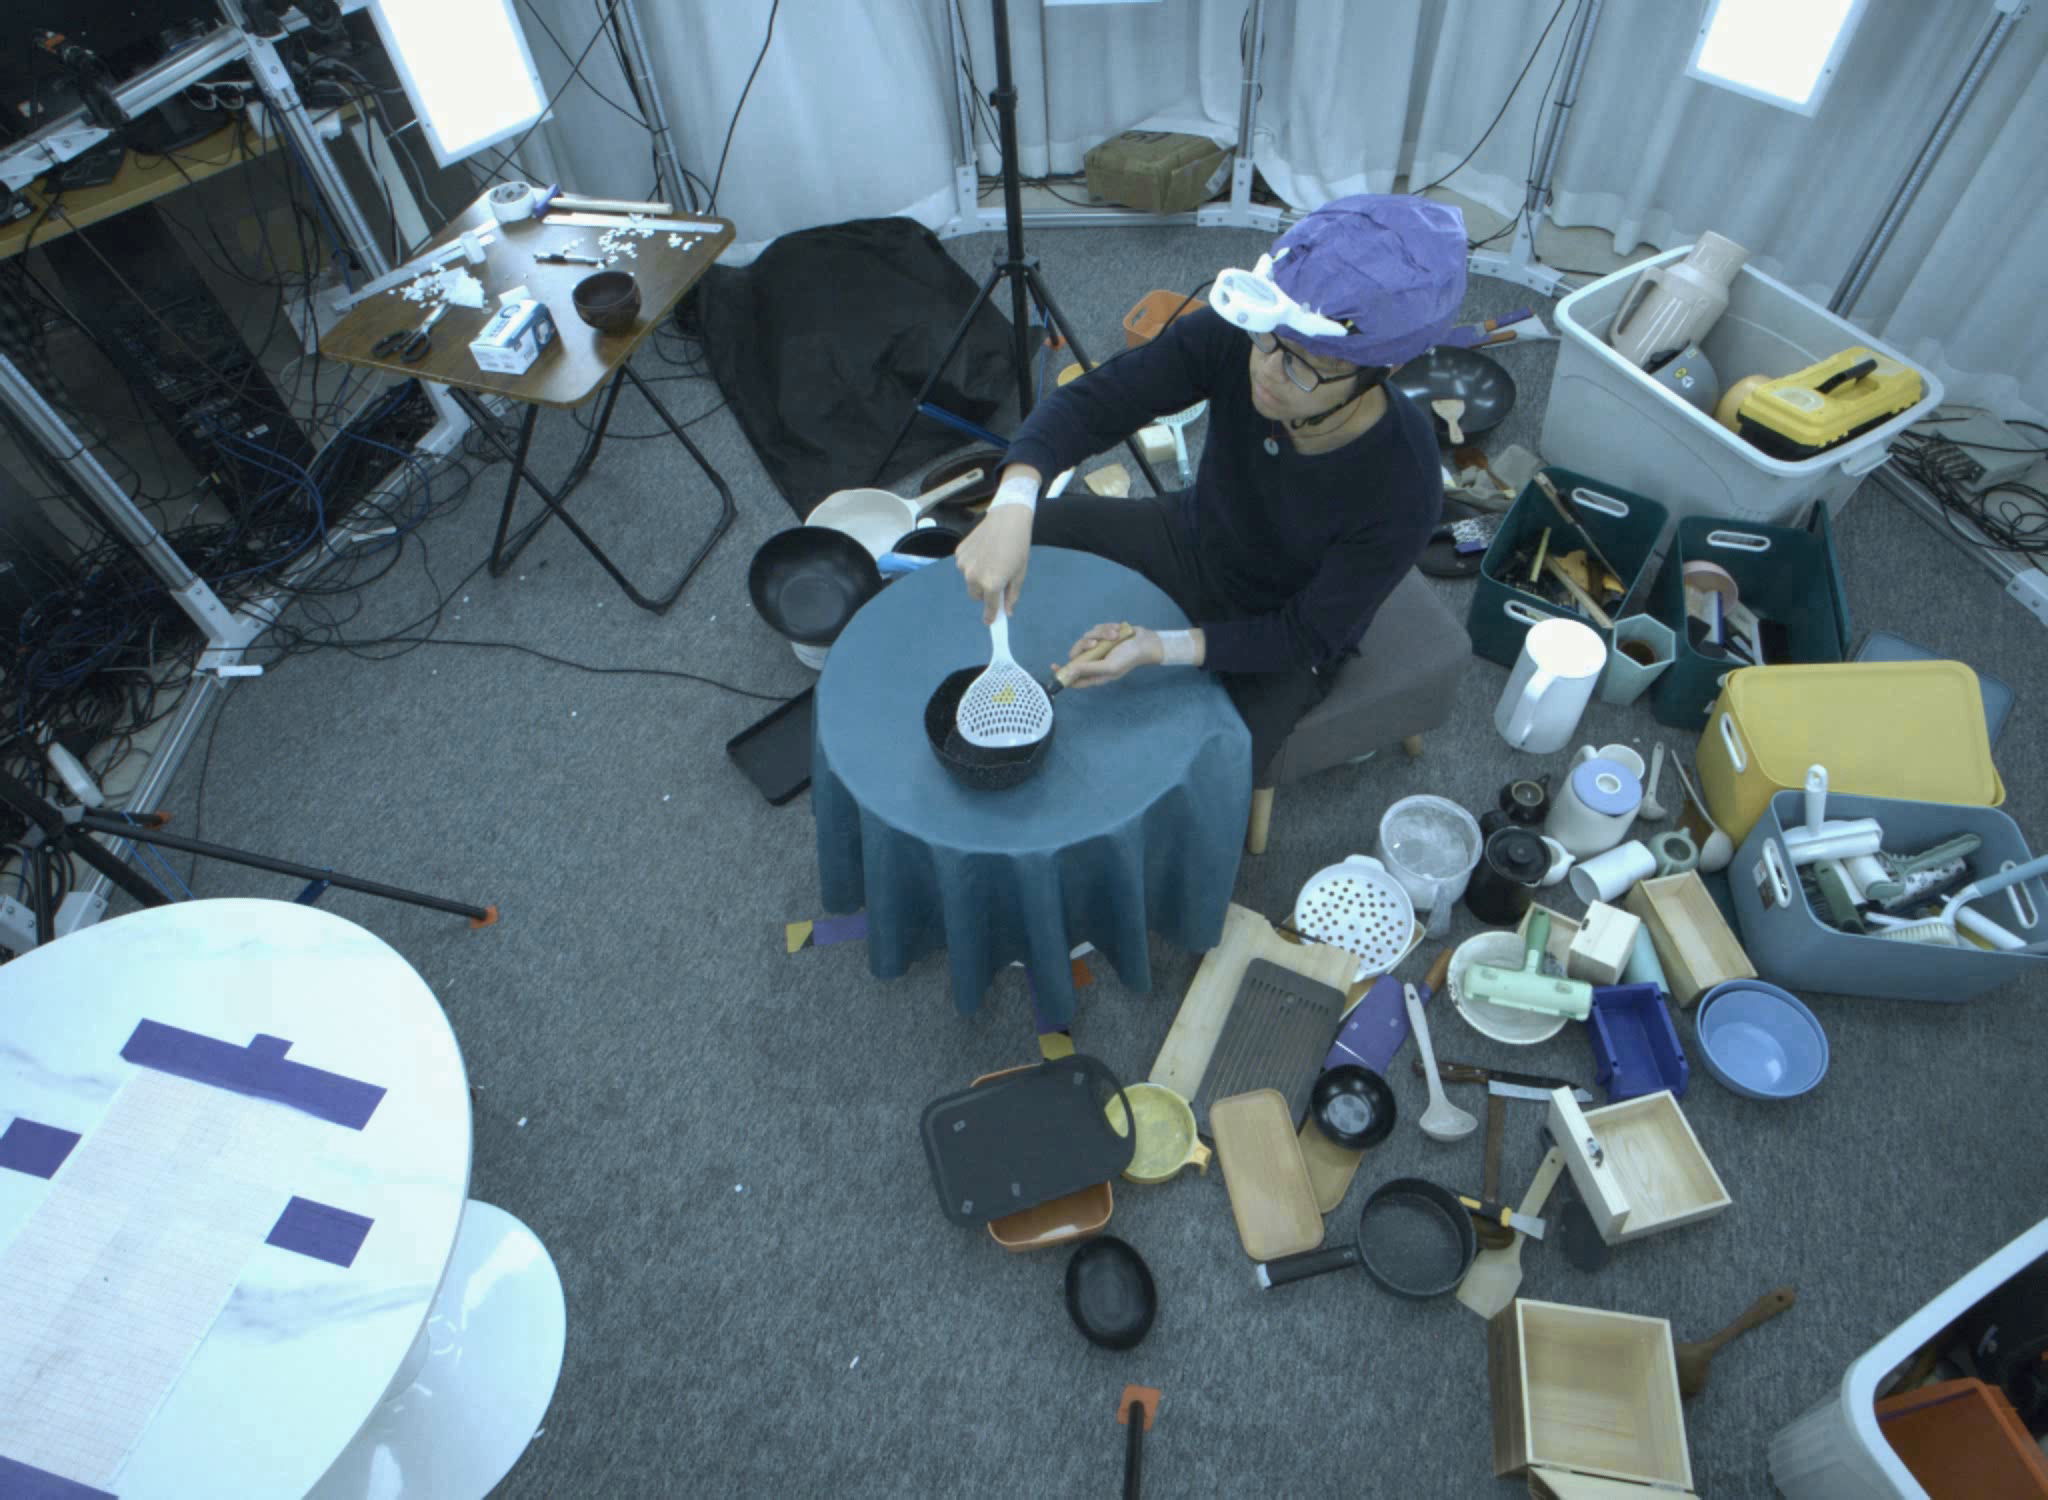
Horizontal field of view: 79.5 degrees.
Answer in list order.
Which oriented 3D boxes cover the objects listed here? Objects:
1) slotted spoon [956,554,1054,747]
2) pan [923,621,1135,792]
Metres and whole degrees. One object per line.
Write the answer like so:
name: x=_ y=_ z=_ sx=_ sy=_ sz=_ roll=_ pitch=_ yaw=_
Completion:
slotted spoon: x=-0.035 y=-0.123 z=1.630 sx=0.137 sy=0.352 sz=0.050 roll=-5 pitch=56 yaw=0
pan: x=0.017 y=-0.072 z=1.770 sx=0.345 sy=0.109 sz=0.203 roll=-32 pitch=58 yaw=-17
